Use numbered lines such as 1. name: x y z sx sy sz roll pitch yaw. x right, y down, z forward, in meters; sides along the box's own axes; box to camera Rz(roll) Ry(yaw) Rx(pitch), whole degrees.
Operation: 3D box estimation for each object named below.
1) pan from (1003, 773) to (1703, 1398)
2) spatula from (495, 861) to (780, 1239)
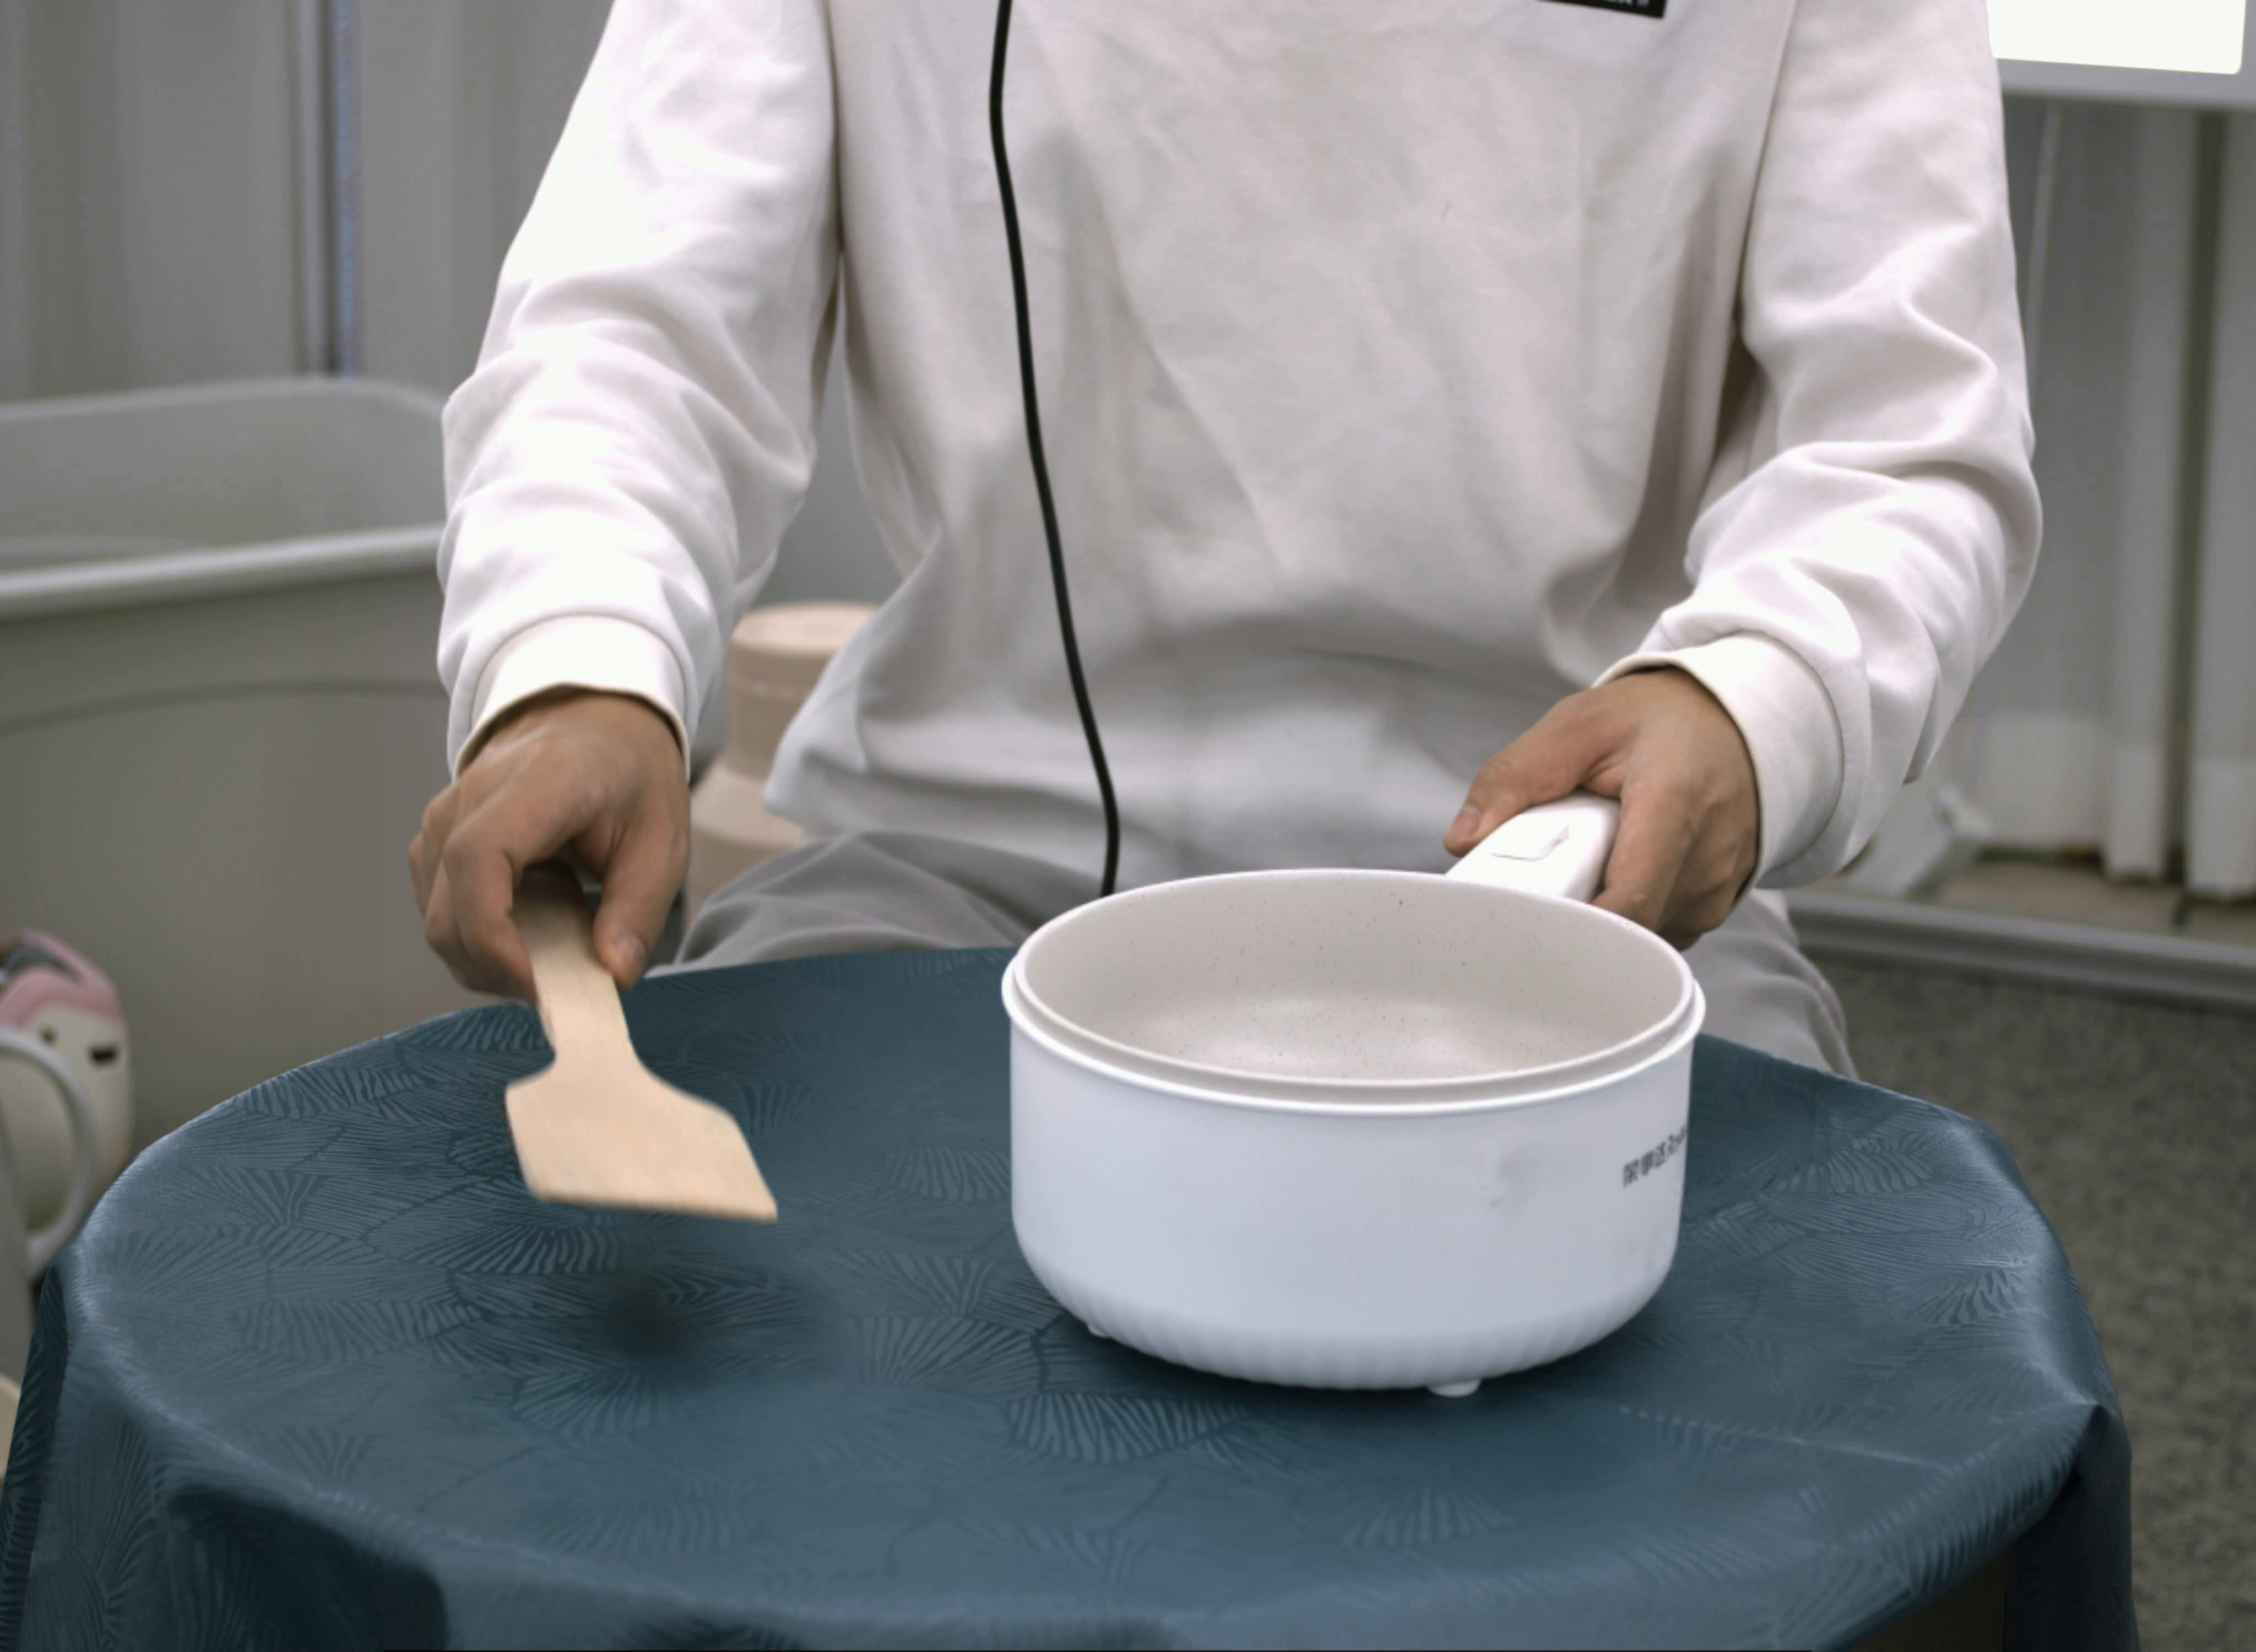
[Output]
1. pan: 0.093 0.072 1.587 0.199 0.103 0.355 7 17 21
2. spatula: -0.165 0.064 1.608 0.072 0.011 0.290 6 19 -17
